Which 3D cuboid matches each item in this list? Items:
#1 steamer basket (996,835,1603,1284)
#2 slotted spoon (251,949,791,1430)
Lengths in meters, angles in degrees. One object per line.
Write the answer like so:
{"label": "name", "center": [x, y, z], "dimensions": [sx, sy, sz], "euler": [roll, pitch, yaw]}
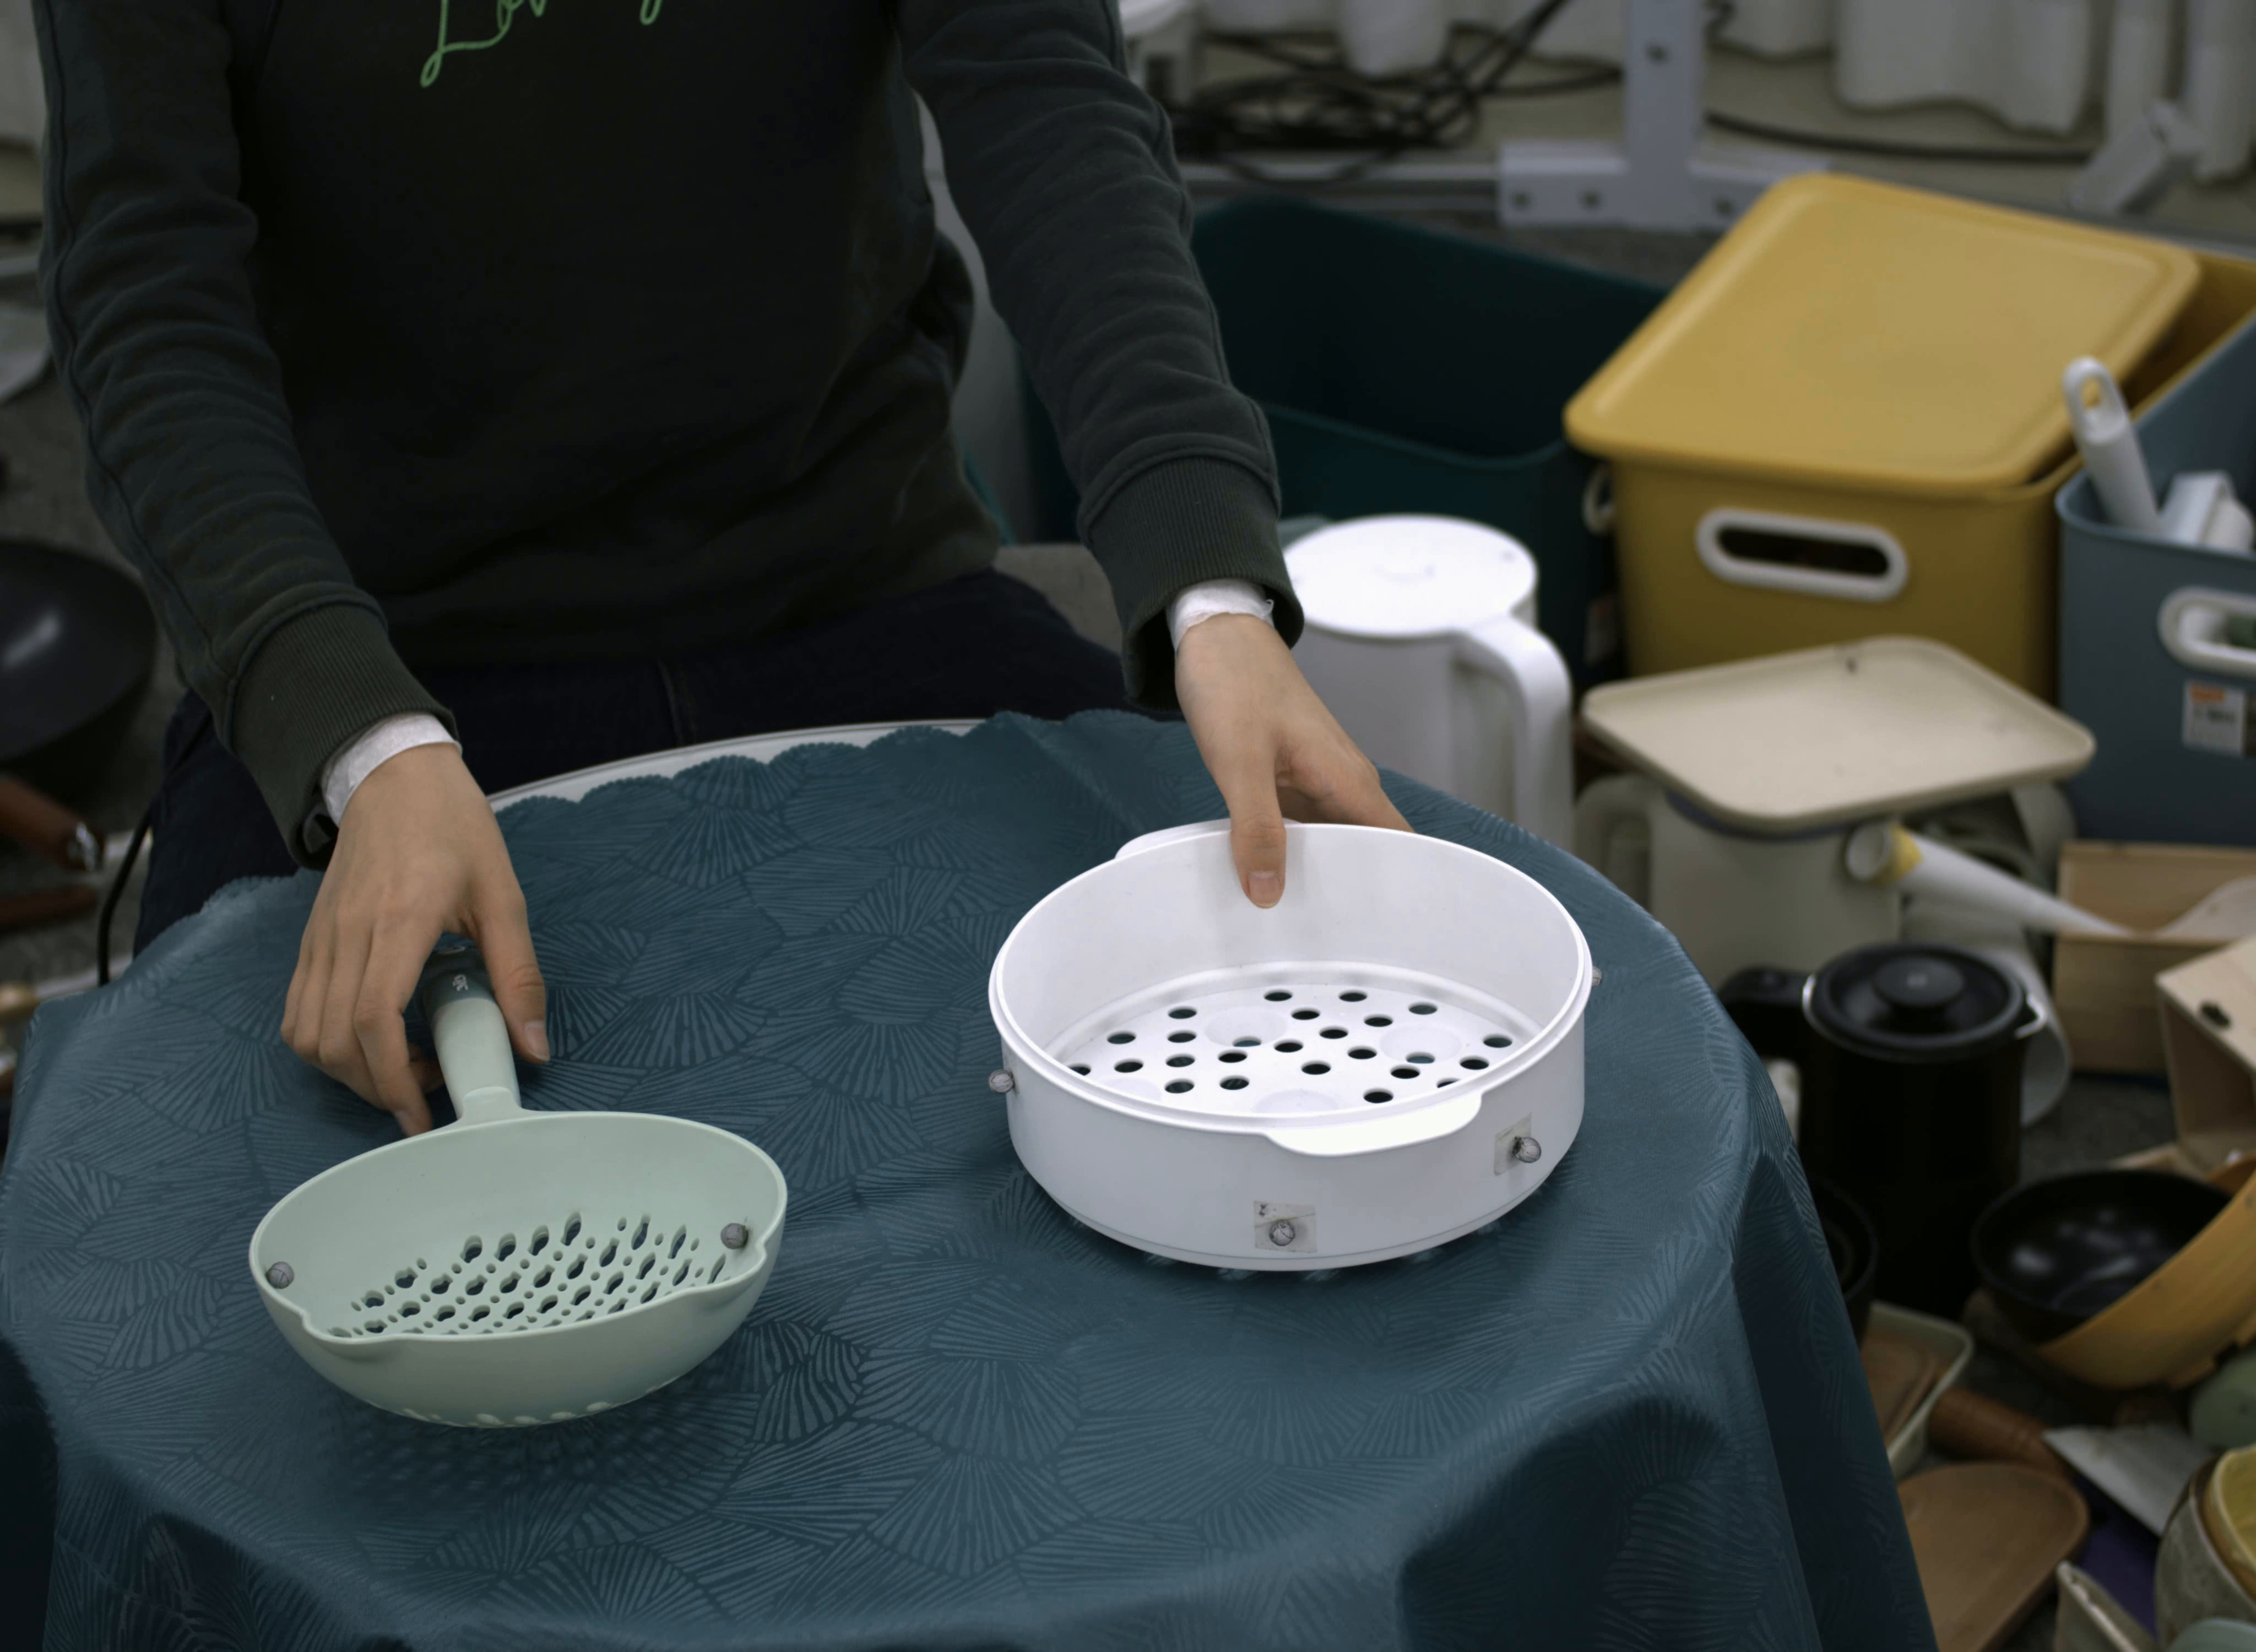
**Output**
{"label": "steamer basket", "center": [0.057, 0.079, 1.870], "dimensions": [0.202, 0.068, 0.233], "euler": [-9, 27, -13]}
{"label": "slotted spoon", "center": [-0.207, 0.104, 1.847], "dimensions": [0.169, 0.074, 0.363], "euler": [-7, 28, -9]}
